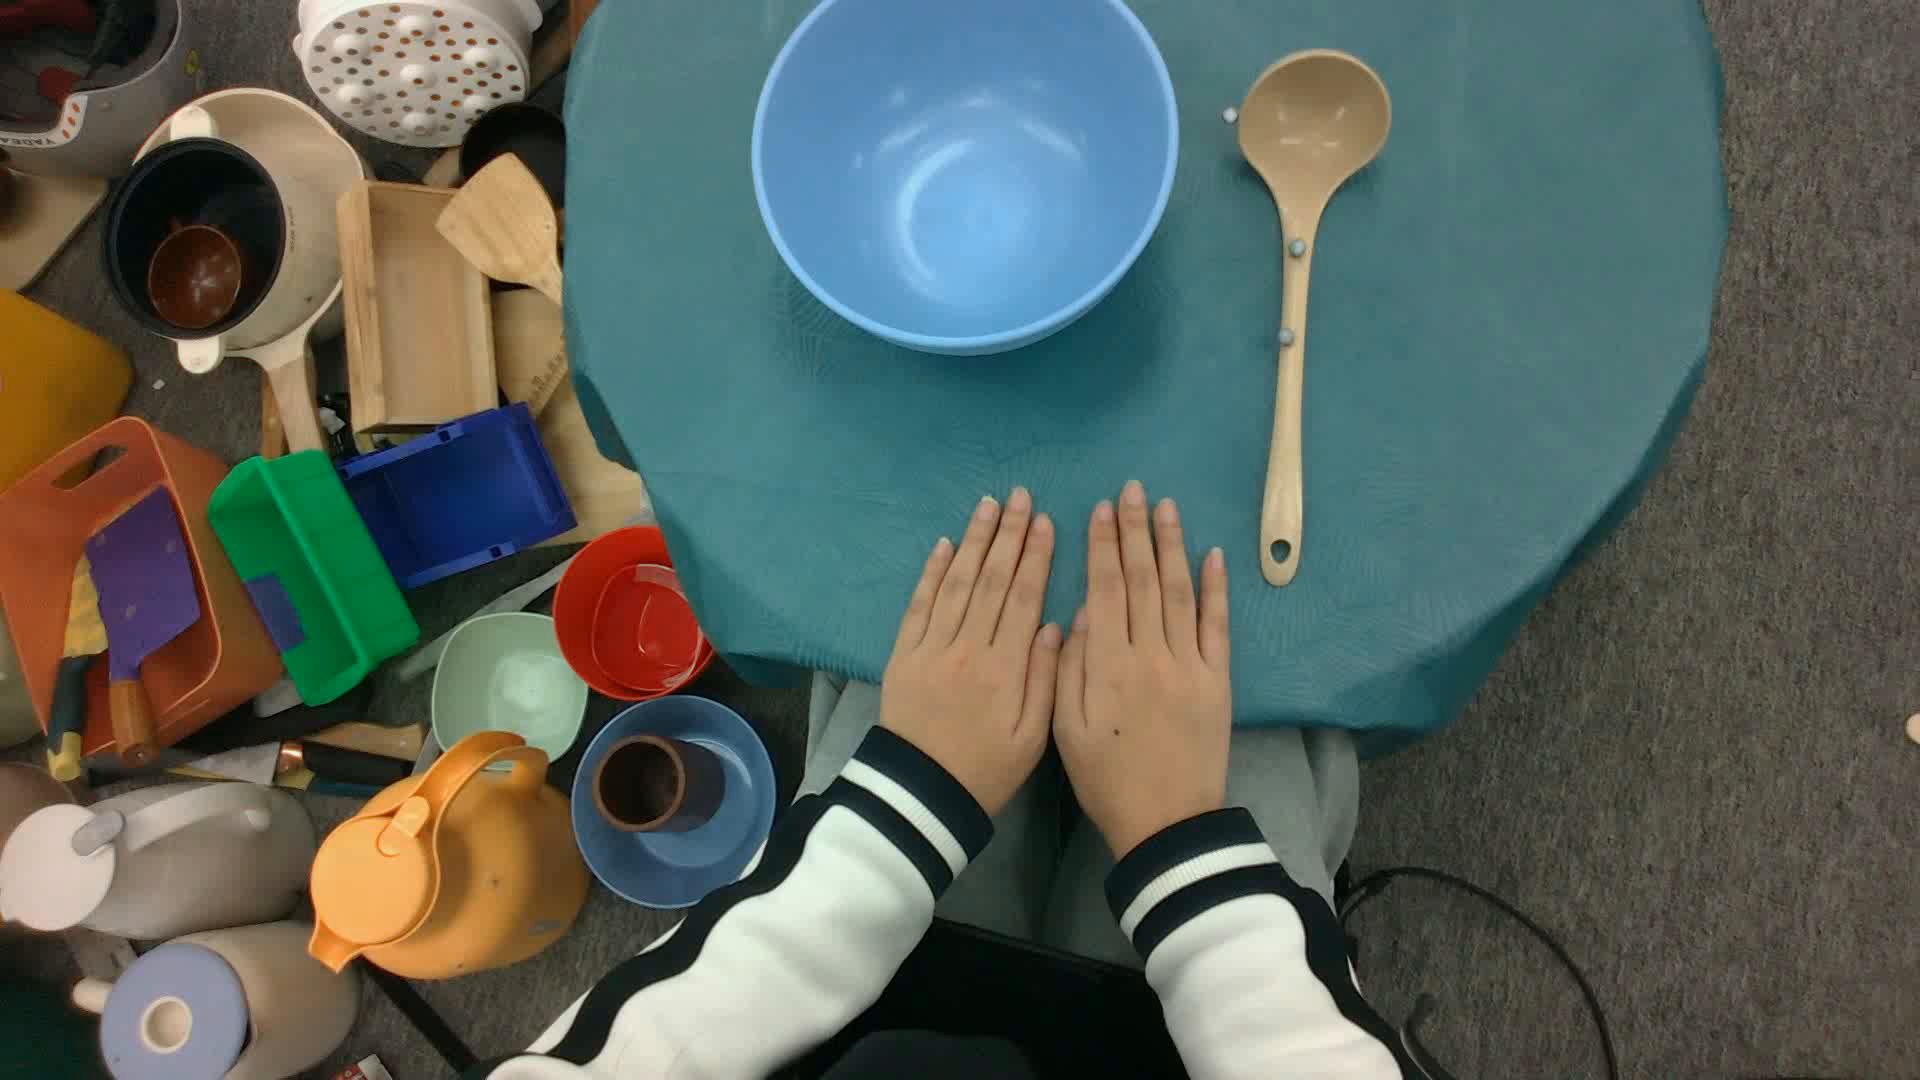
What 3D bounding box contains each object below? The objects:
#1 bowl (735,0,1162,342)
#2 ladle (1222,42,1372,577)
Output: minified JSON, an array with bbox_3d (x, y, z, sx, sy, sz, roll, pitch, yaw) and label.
[{"bbox_3d":[-0.002,-0.178,0.672,0.196,0.095,0.197,-1,76,5],"label":"bowl"},{"bbox_3d":[0.160,-0.113,0.659,0.072,0.073,0.255,2,79,6],"label":"ladle"}]
